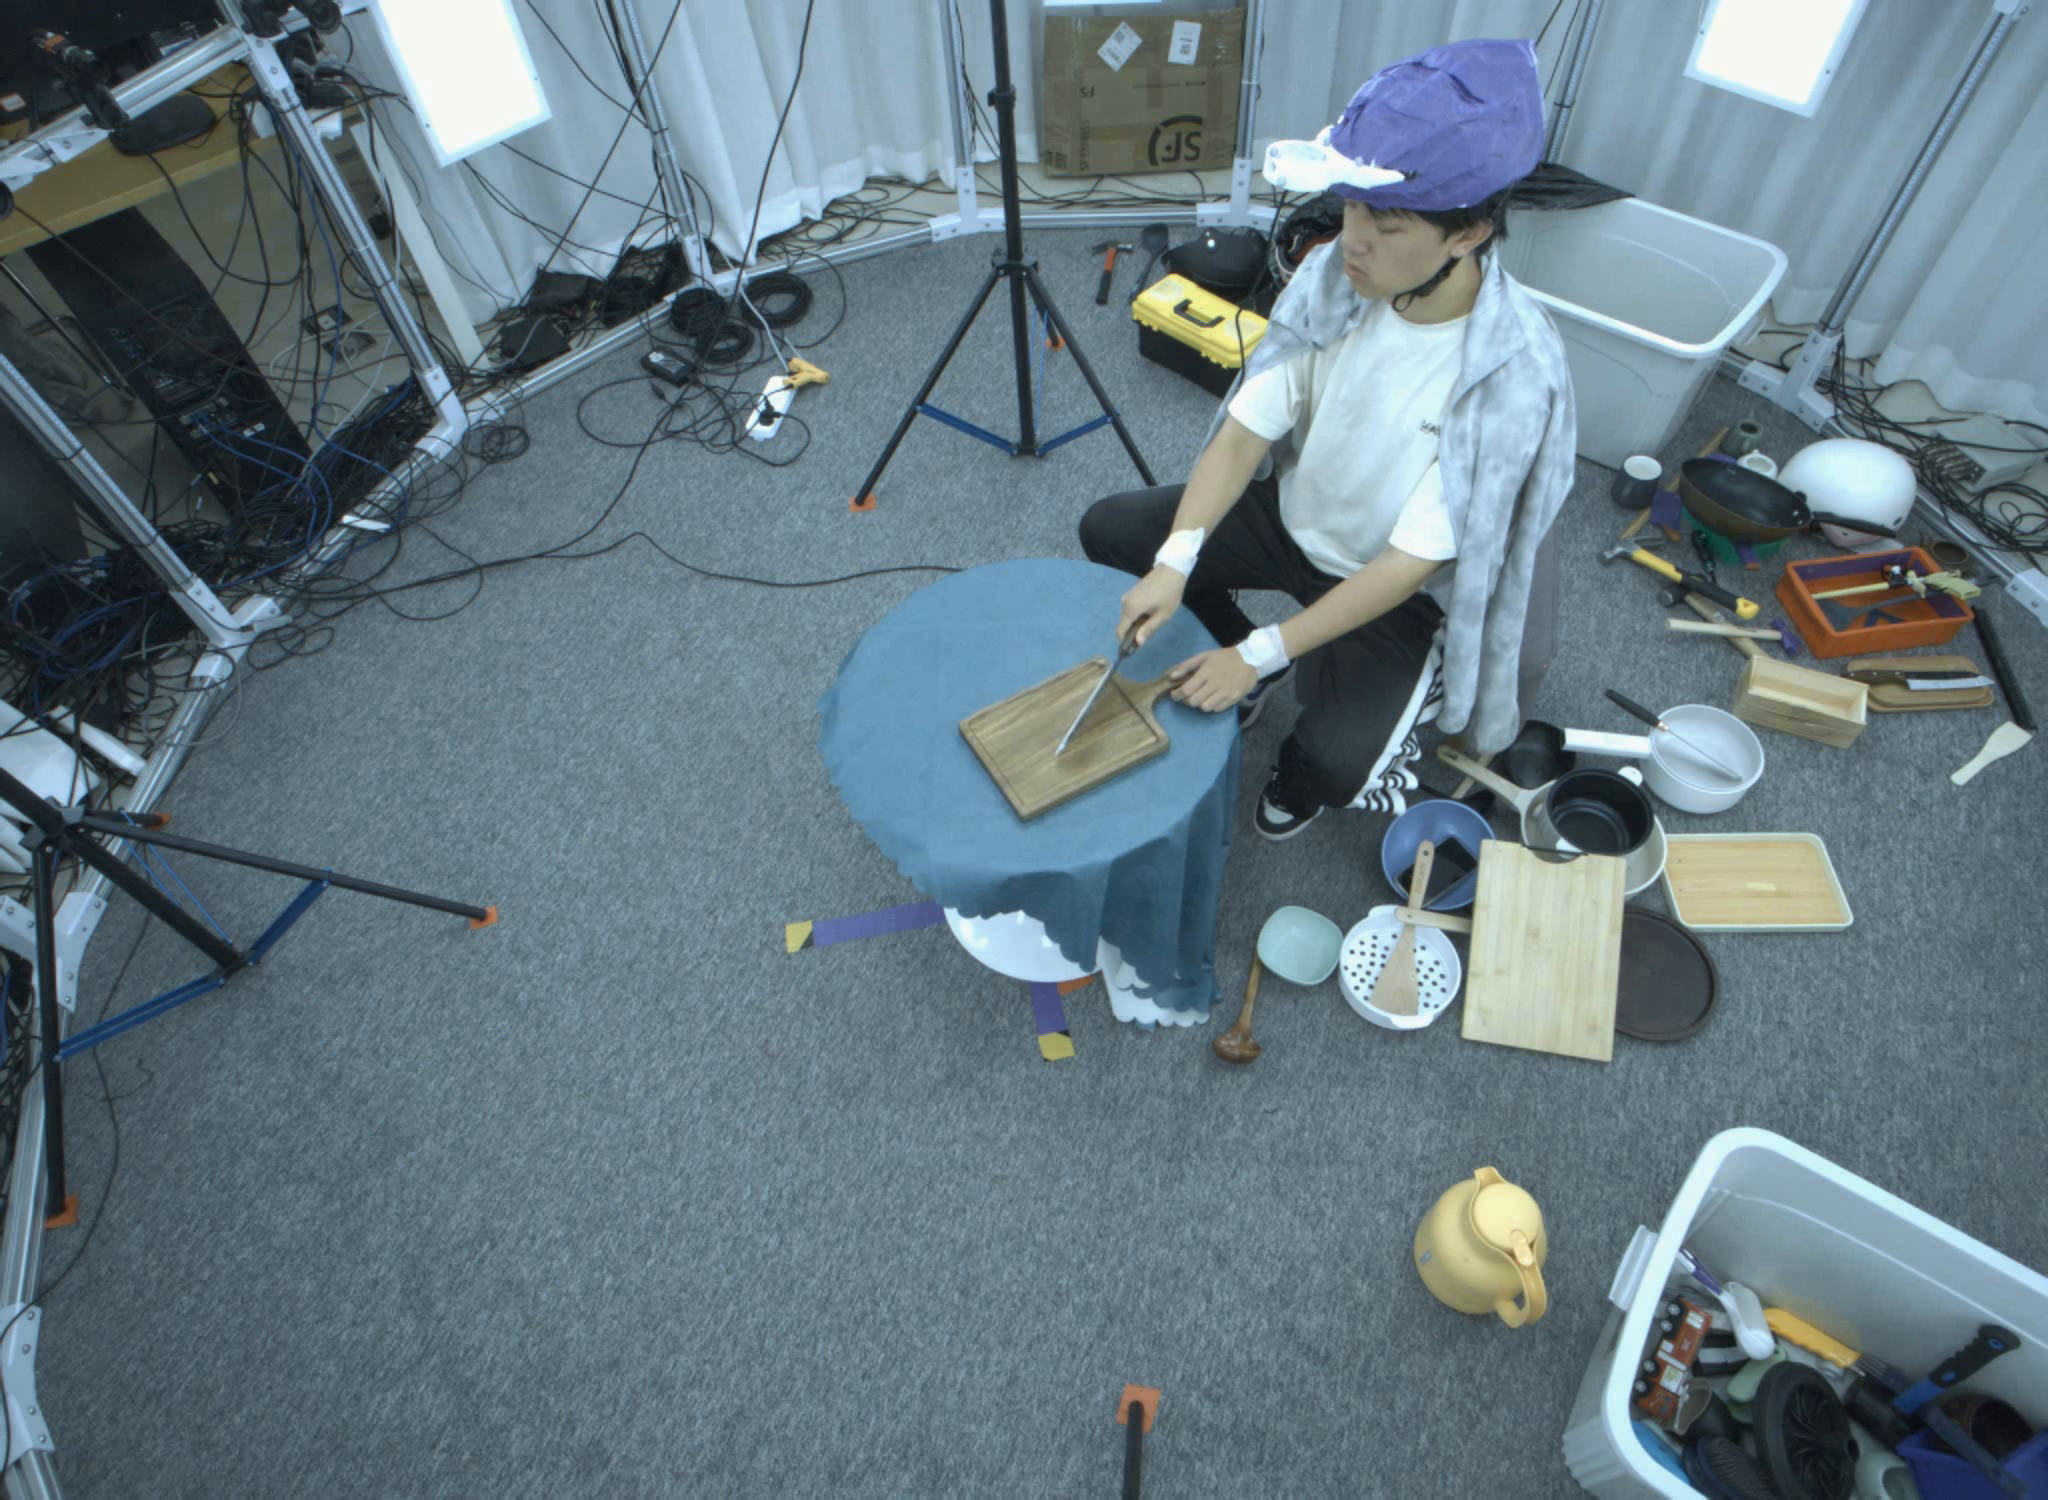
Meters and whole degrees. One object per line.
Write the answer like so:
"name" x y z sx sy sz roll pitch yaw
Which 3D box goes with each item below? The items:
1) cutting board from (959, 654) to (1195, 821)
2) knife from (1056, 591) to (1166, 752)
"cutting board" 0.102 -0.045 1.805 0.355 0.023 0.197 -26 58 -16
"knife" 0.126 -0.116 1.796 0.024 0.067 0.300 36 64 -6
